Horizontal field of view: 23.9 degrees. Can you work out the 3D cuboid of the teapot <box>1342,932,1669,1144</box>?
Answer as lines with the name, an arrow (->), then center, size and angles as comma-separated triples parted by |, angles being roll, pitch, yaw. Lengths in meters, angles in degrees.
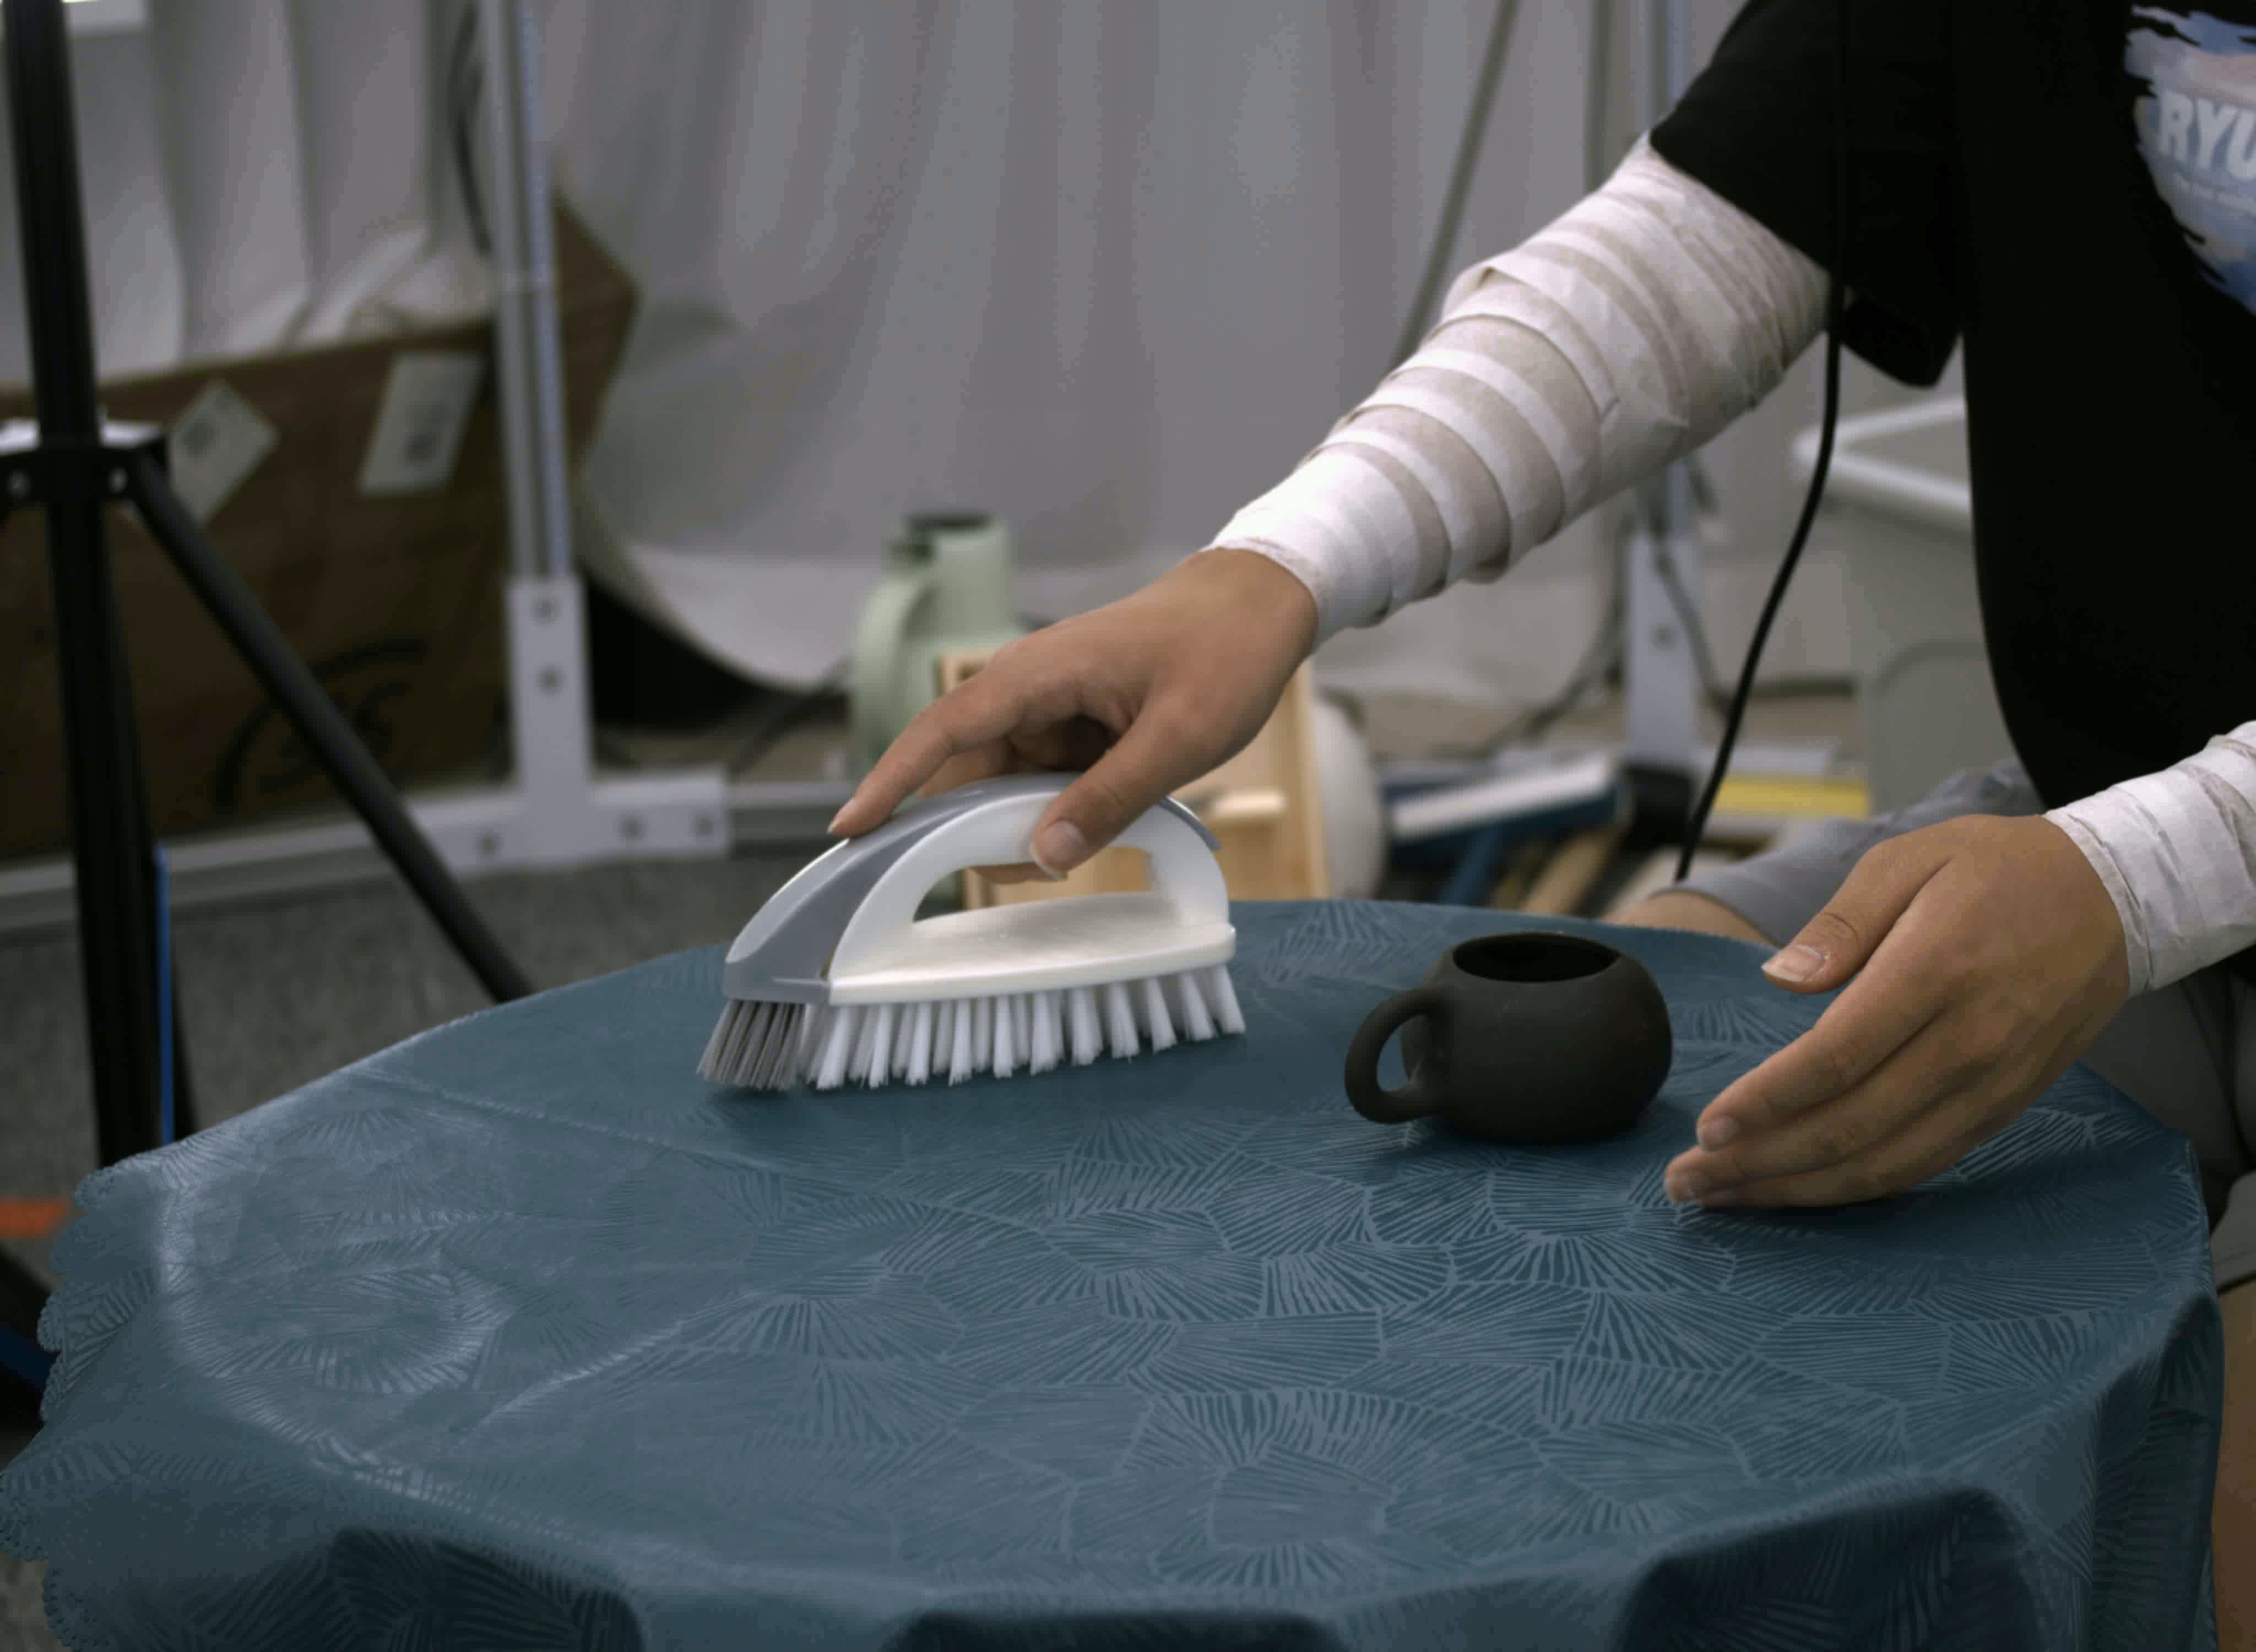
teapot -> 0.112, 0.065, 1.601 | 0.111, 0.053, 0.085 | -9, 17, -29

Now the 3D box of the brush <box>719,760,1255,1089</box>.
brush -> -0.048, 0.030, 1.674 | 0.172, 0.094, 0.062 | -8, 13, -16
